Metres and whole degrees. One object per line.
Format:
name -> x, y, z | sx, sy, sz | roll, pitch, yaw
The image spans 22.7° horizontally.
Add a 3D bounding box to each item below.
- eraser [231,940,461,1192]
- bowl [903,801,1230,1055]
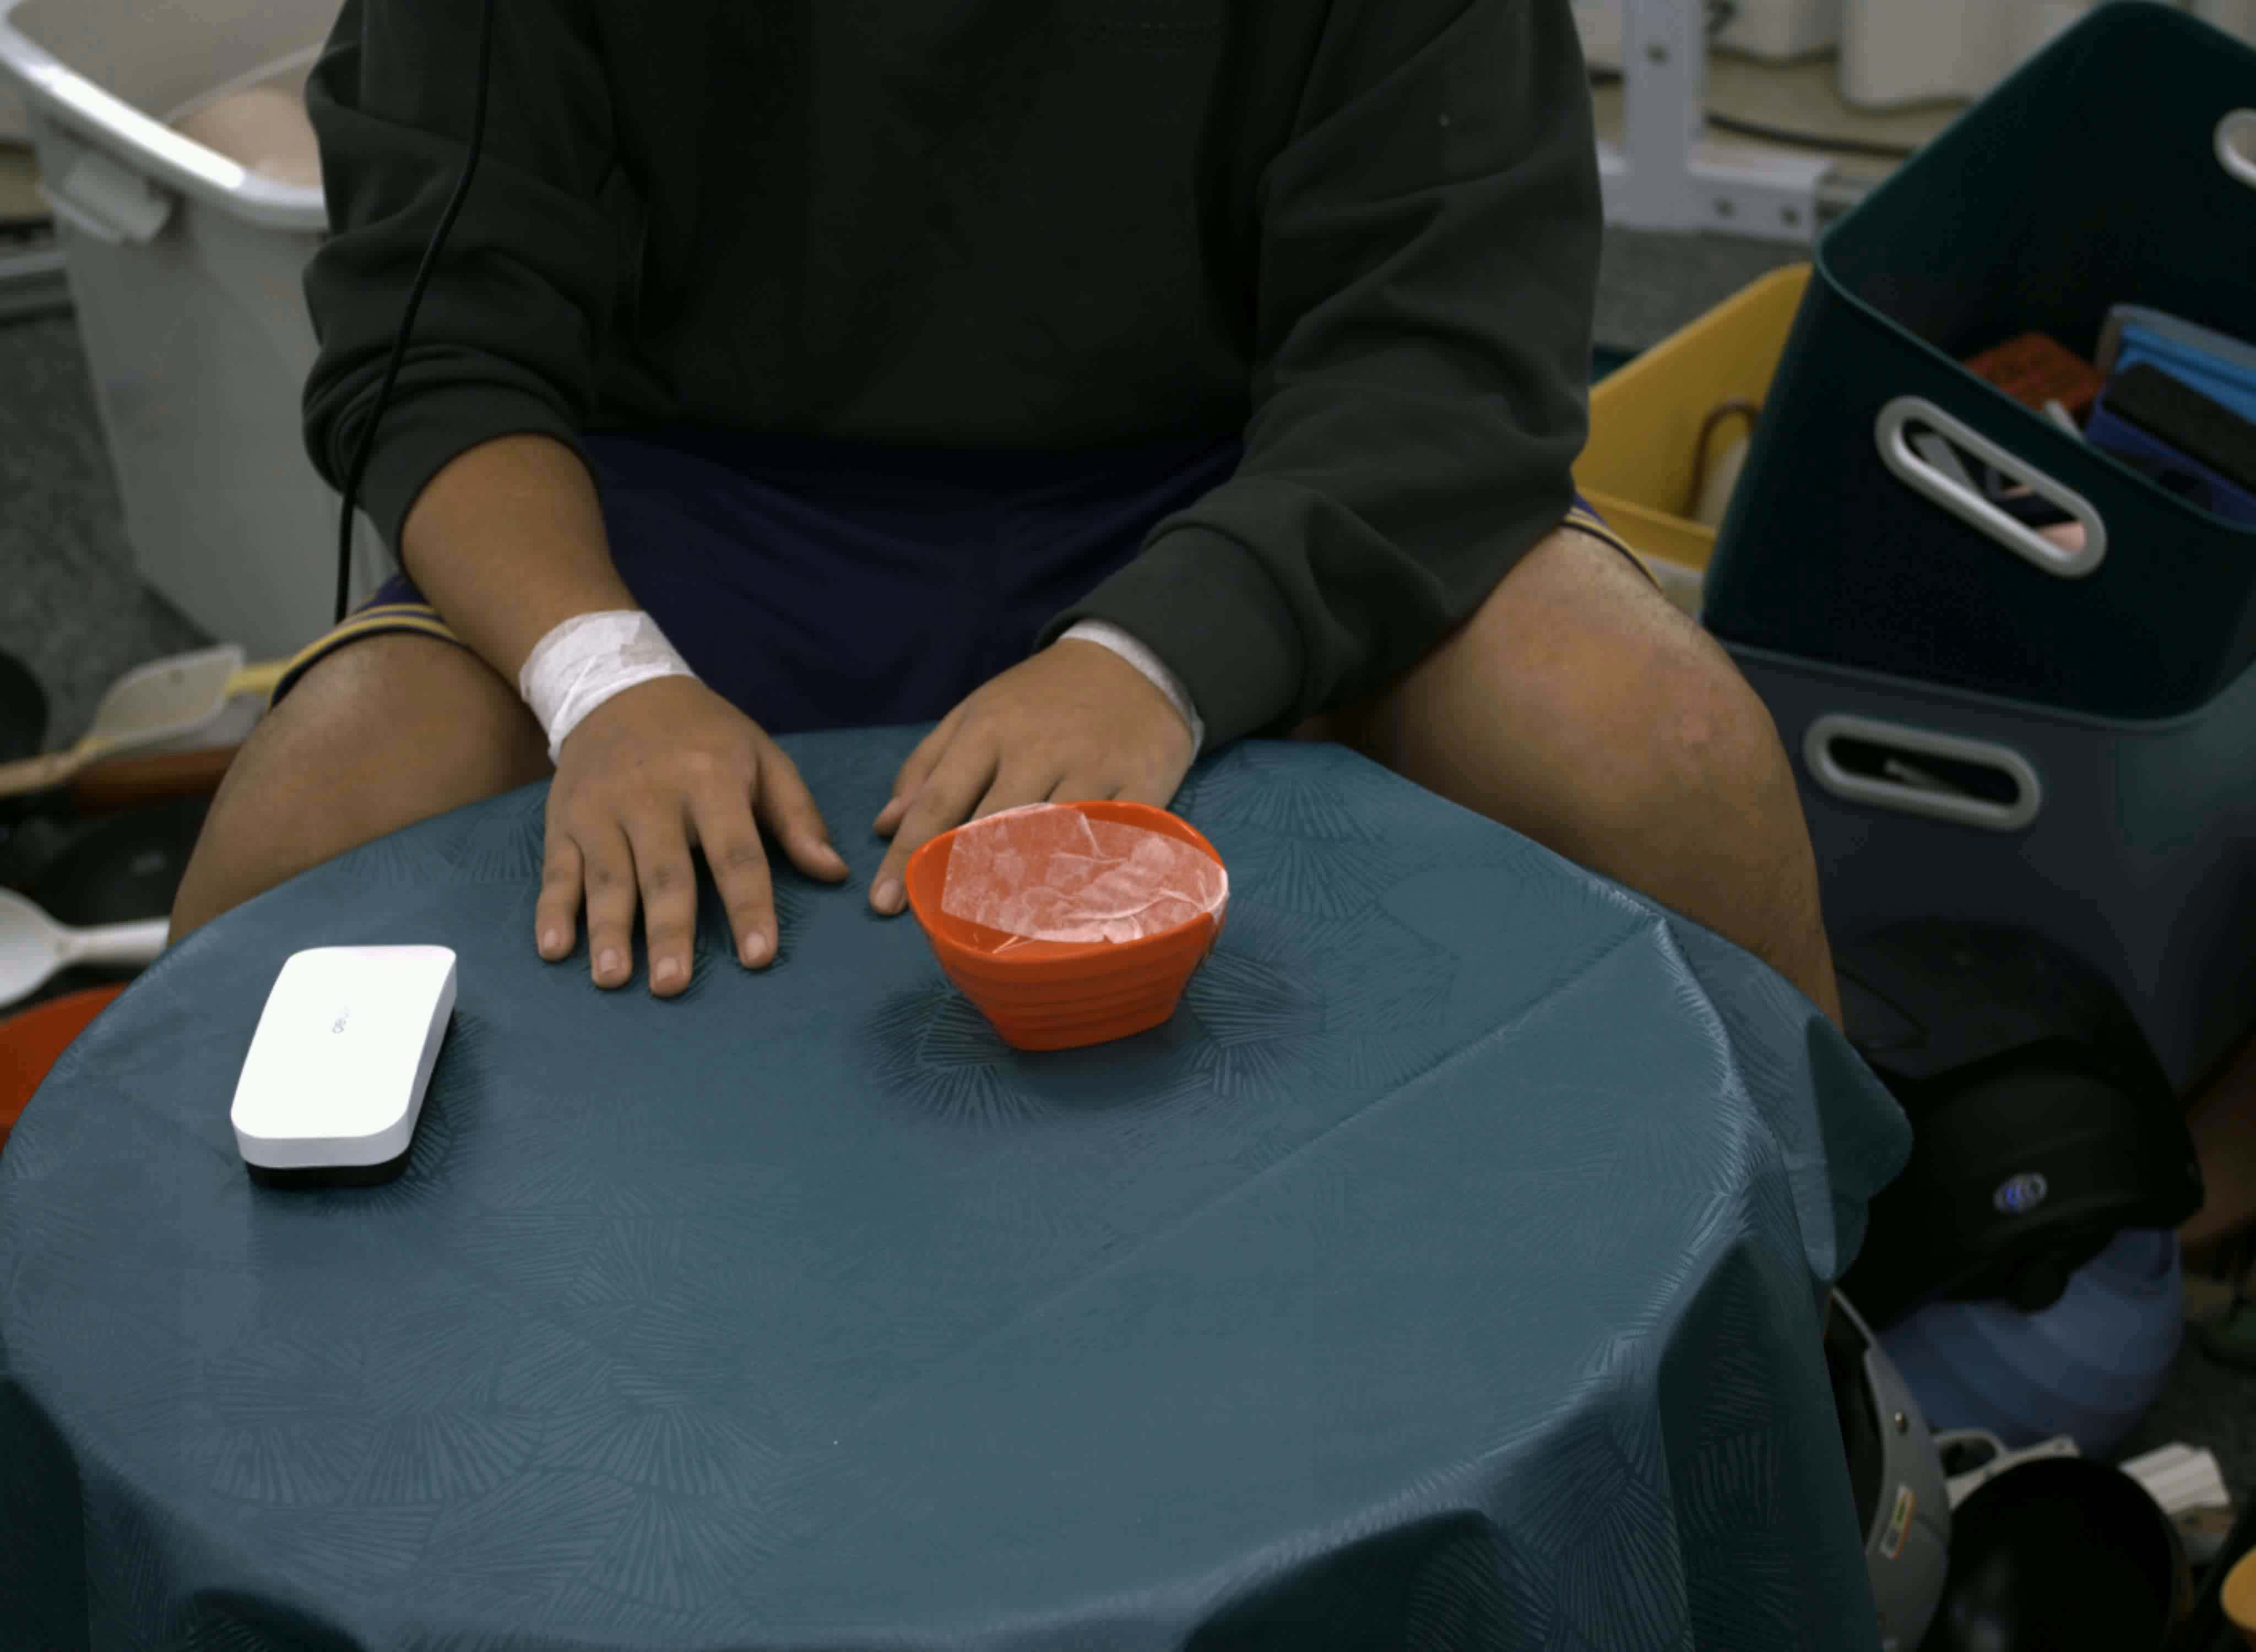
eraser -> -0.267, 0.080, 1.935 | 0.063, 0.034, 0.133 | 1, 29, 5
bowl -> -0.020, 0.040, 1.968 | 0.118, 0.051, 0.121 | -3, 27, 2
